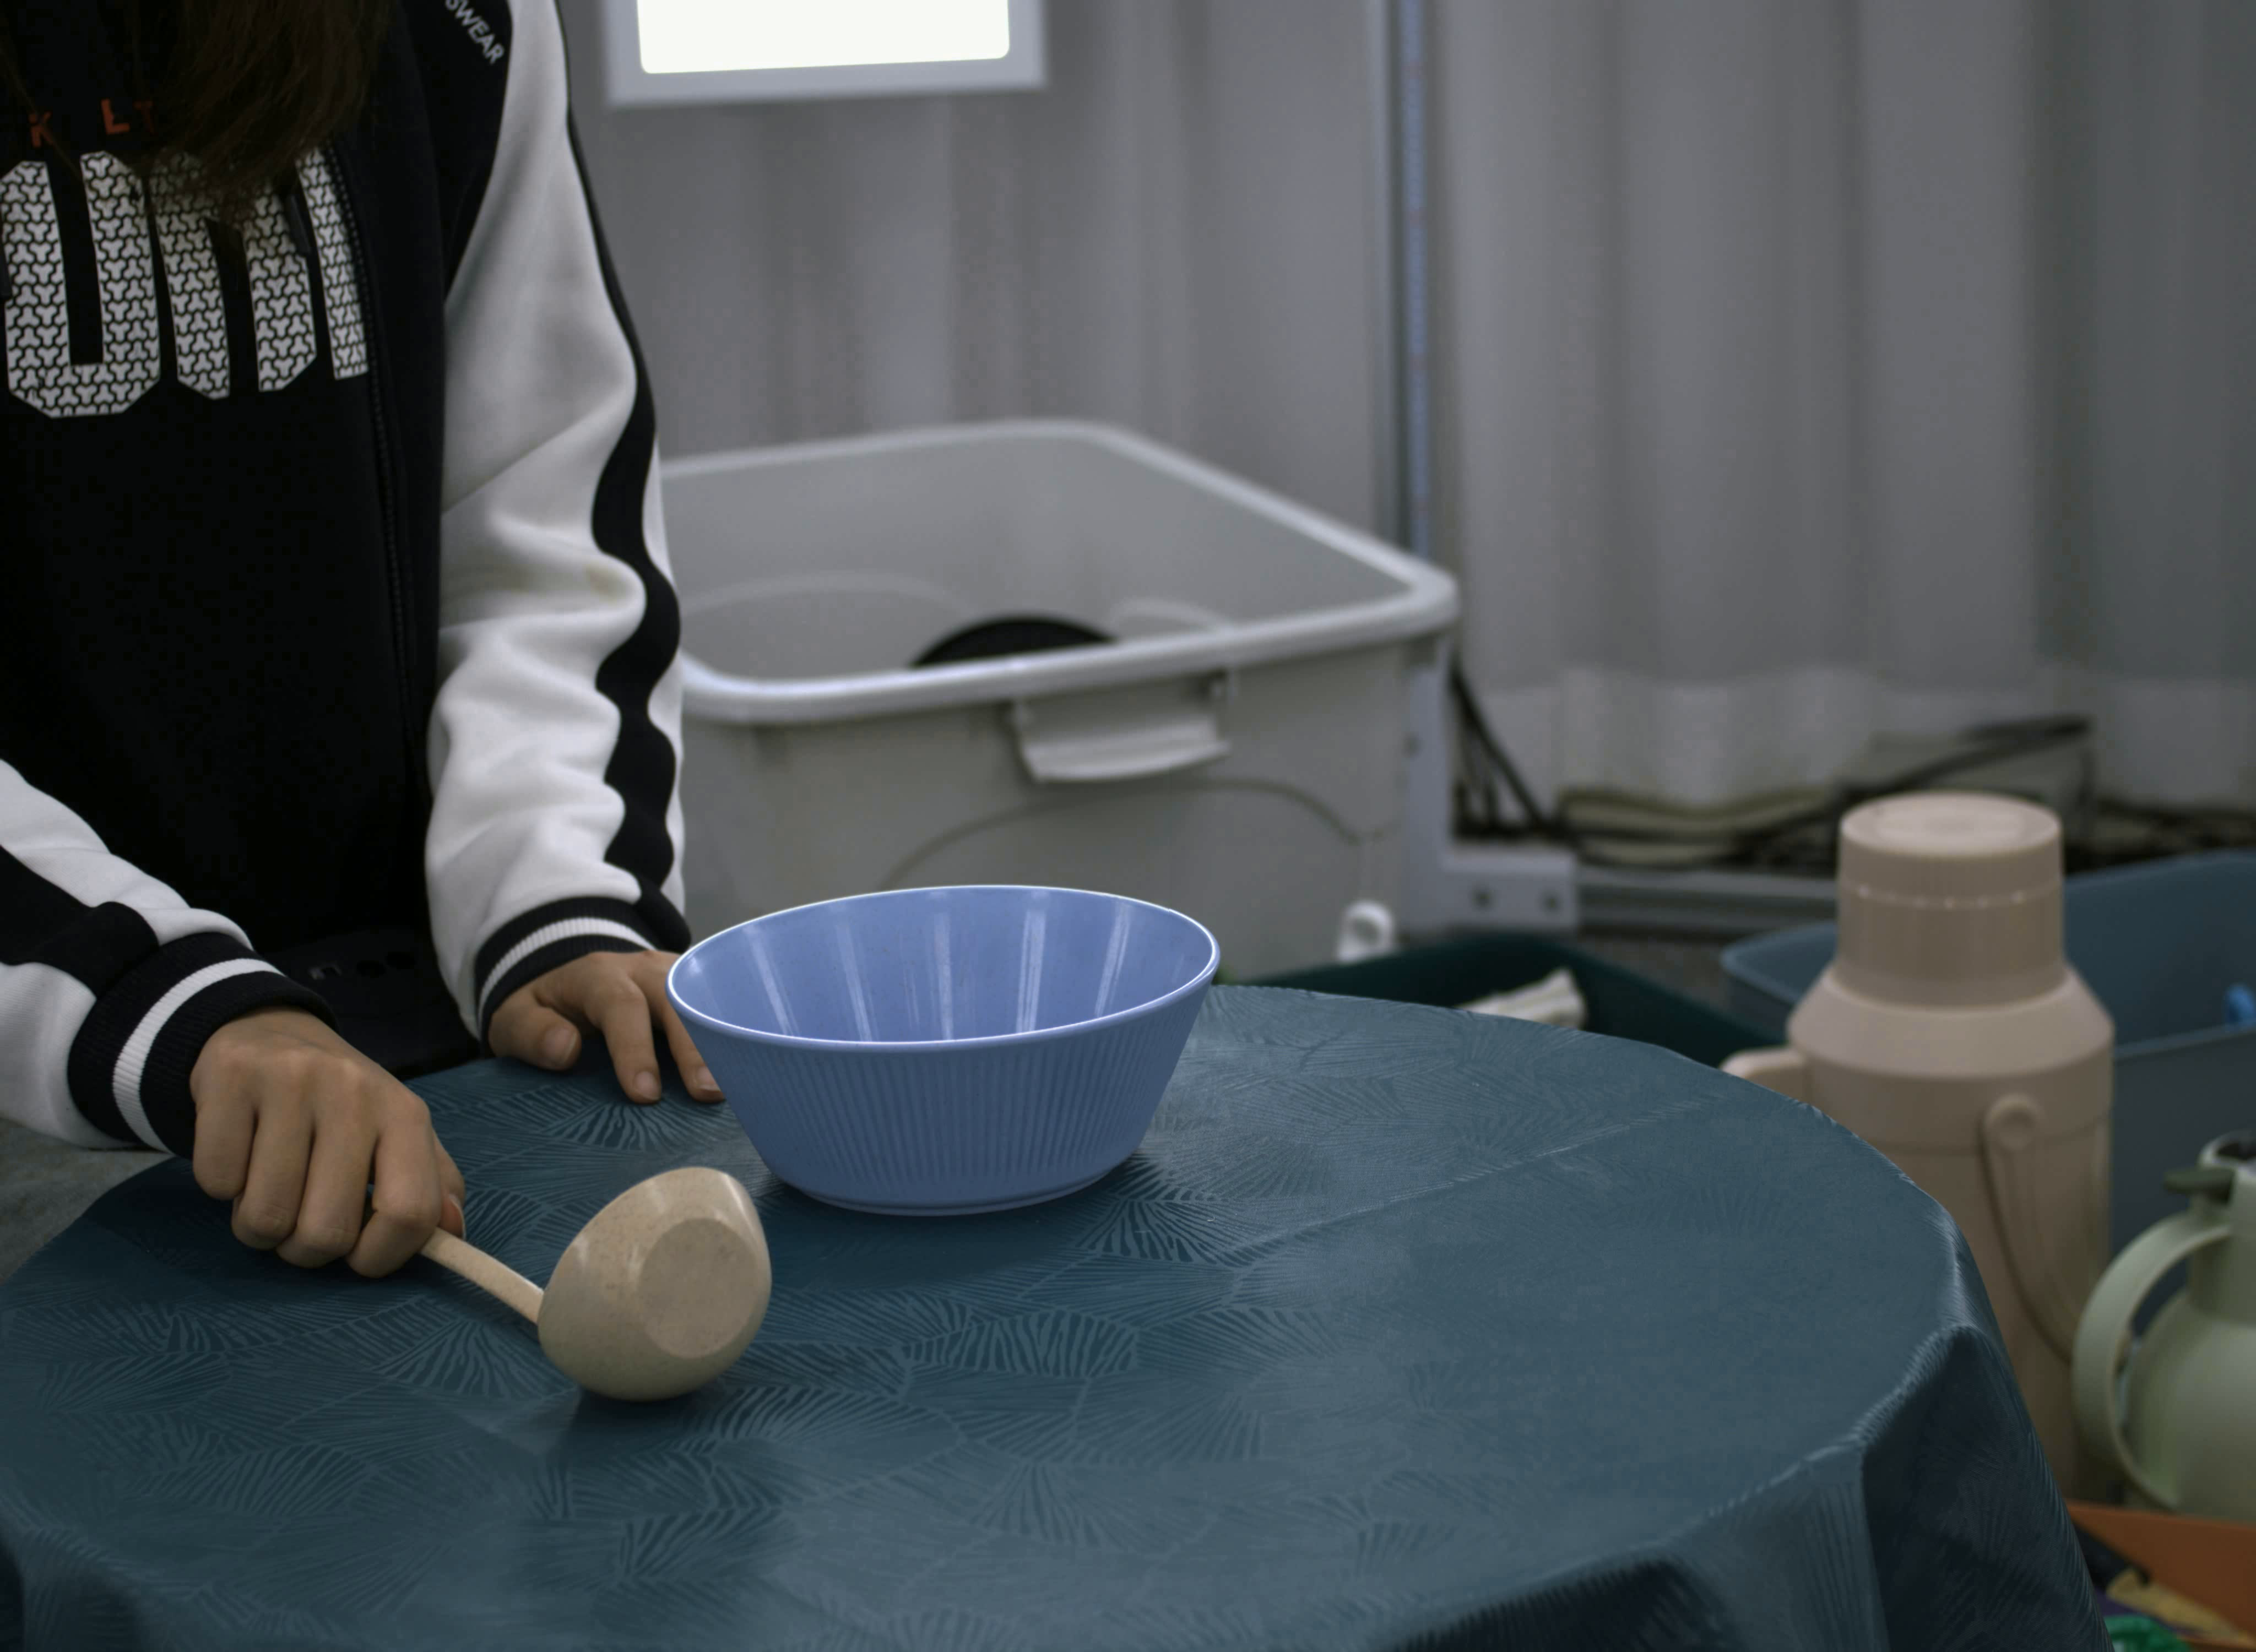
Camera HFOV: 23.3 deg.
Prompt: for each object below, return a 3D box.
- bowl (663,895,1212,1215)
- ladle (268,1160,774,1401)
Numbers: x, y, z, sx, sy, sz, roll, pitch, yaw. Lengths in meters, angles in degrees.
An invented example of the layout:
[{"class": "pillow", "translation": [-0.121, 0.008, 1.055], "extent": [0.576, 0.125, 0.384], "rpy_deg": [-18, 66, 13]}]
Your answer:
[{"class": "bowl", "translation": [-0.059, 0.075, 1.741], "extent": [0.175, 0.070, 0.177], "rpy_deg": [-2, 14, 0]}, {"class": "ladle", "translation": [-0.194, 0.111, 1.626], "extent": [0.072, 0.072, 0.256], "rpy_deg": [-18, 20, -34]}]
